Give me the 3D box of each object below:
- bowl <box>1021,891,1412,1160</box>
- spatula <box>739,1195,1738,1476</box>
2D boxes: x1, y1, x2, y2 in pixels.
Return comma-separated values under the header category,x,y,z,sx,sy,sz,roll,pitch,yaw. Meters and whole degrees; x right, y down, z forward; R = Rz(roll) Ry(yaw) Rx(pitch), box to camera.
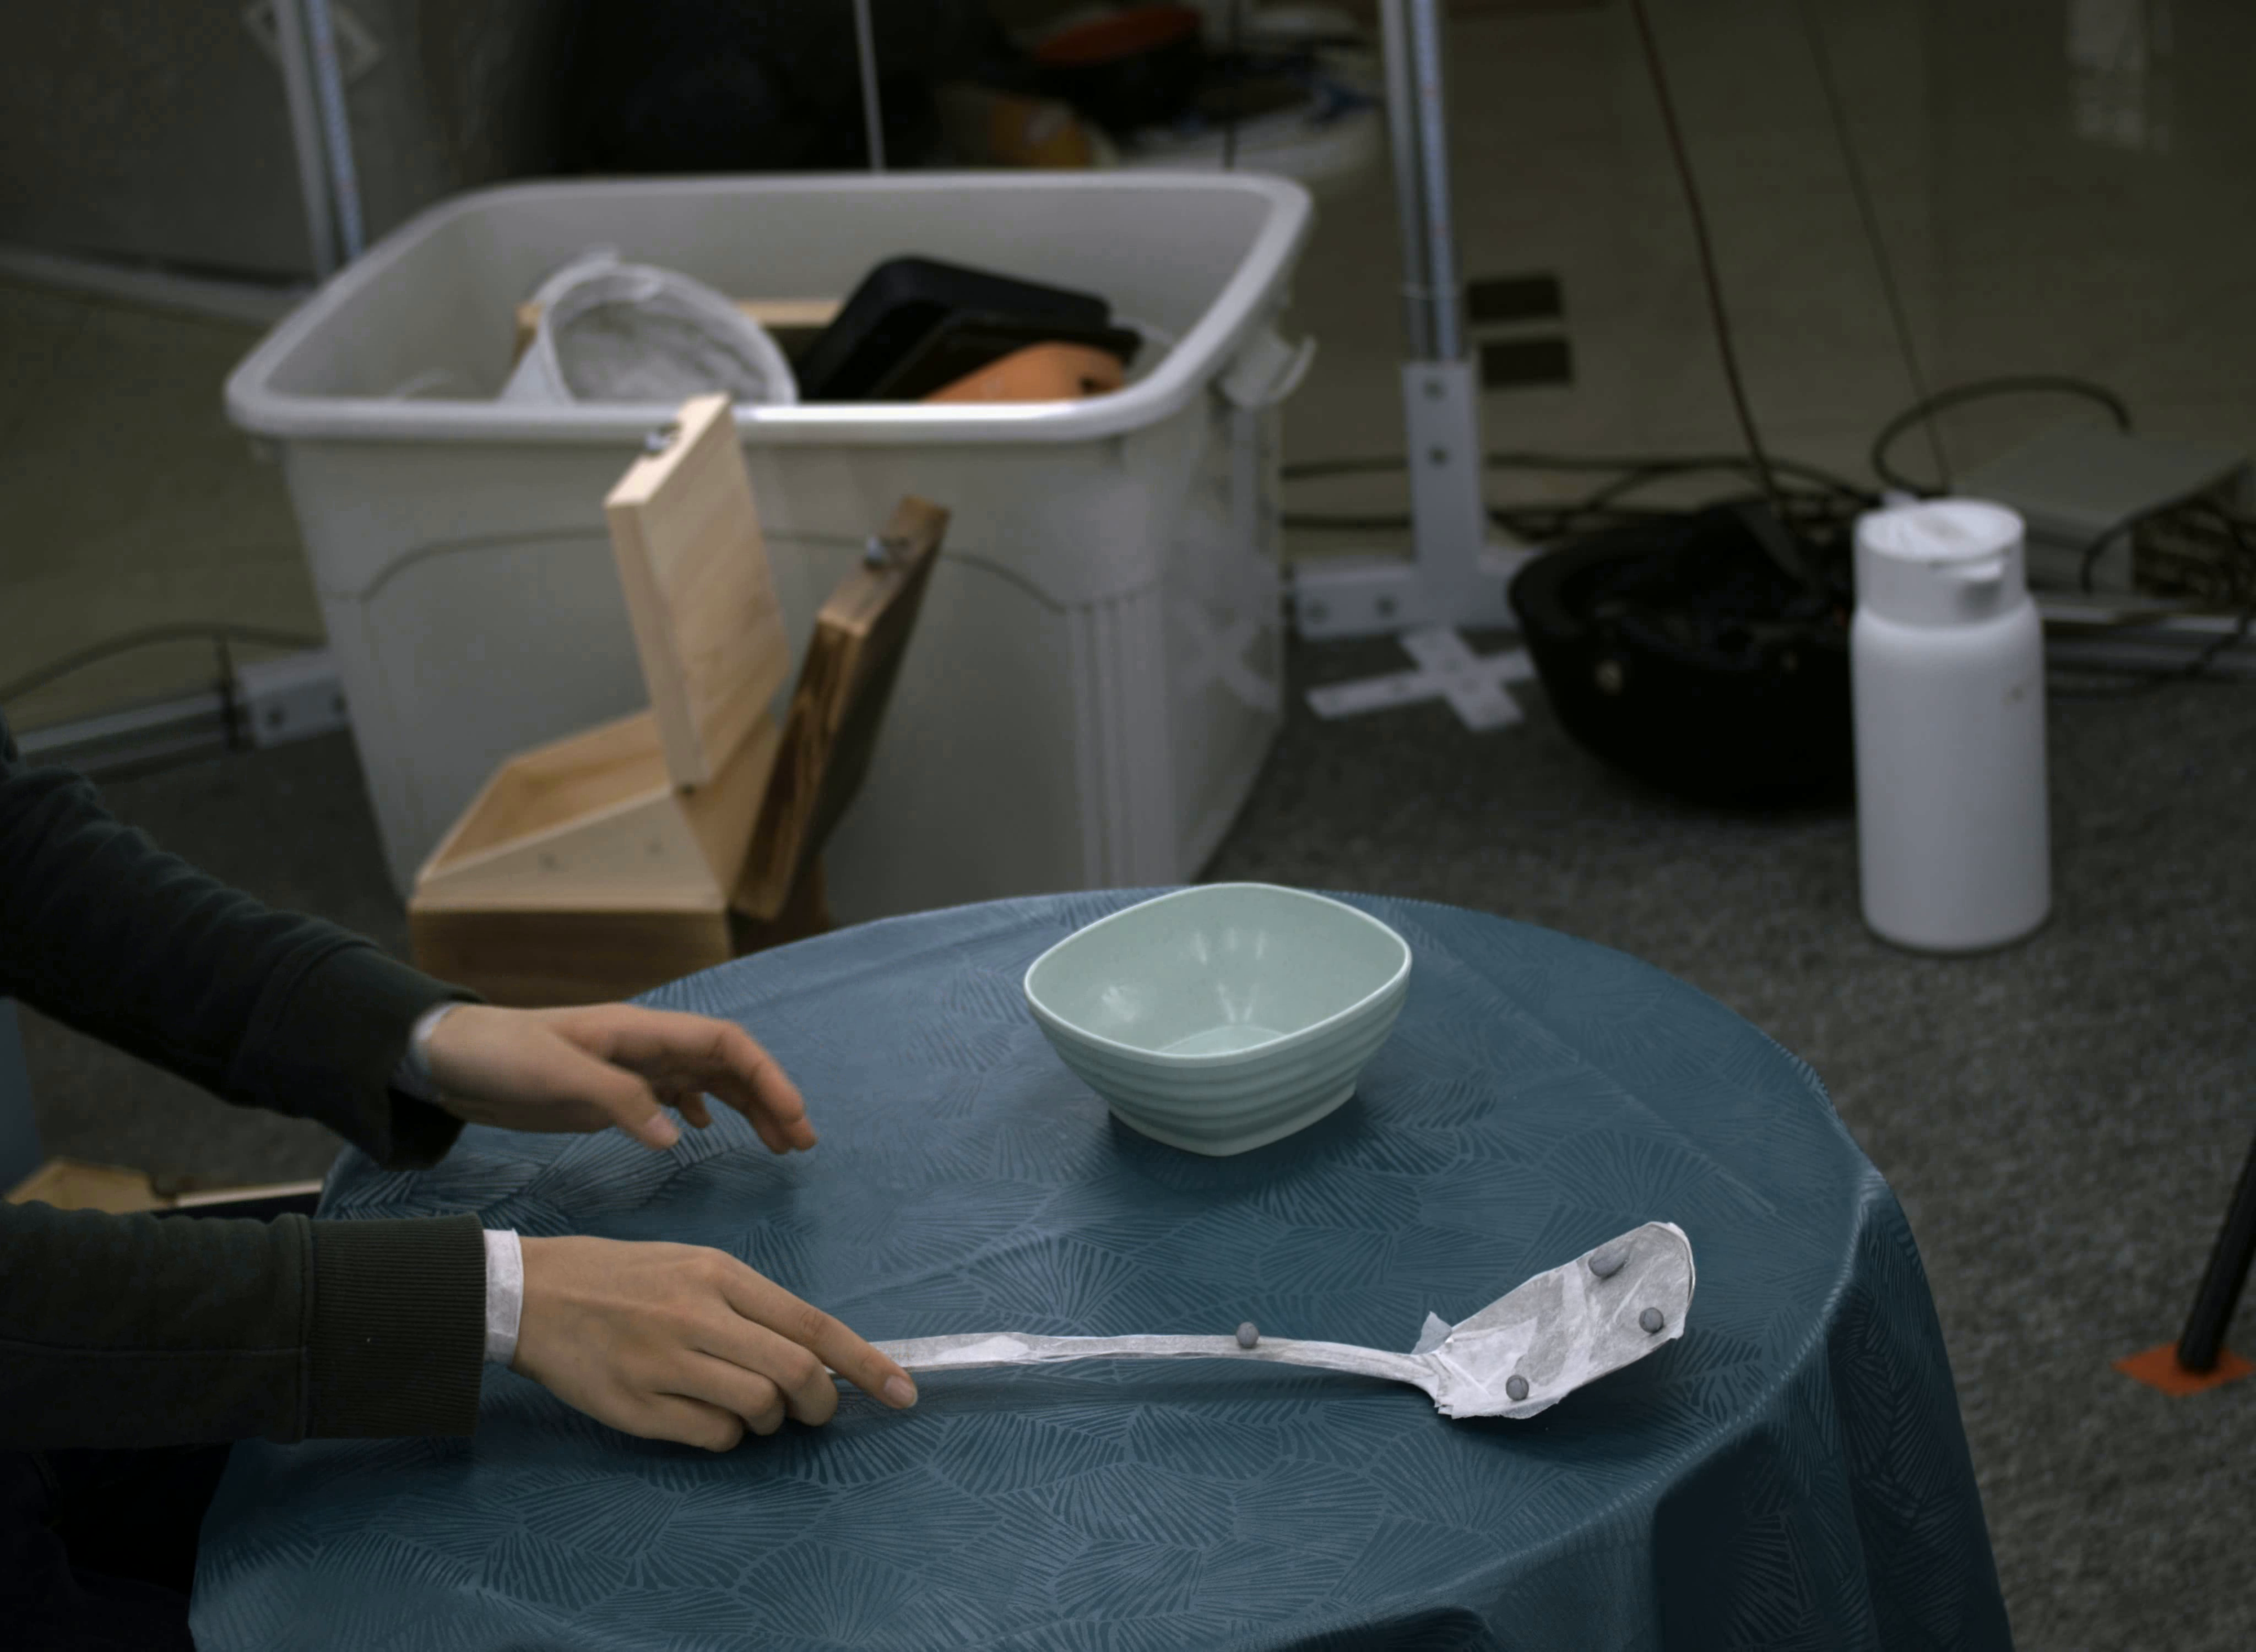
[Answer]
category,x,y,z,sx,sy,sz,roll,pitch,yaw
bowl,0.035,0.082,2.200,0.151,0.059,0.149,-3,25,1
spatula,0.037,0.184,2.000,0.364,0.045,0.098,-9,9,3
